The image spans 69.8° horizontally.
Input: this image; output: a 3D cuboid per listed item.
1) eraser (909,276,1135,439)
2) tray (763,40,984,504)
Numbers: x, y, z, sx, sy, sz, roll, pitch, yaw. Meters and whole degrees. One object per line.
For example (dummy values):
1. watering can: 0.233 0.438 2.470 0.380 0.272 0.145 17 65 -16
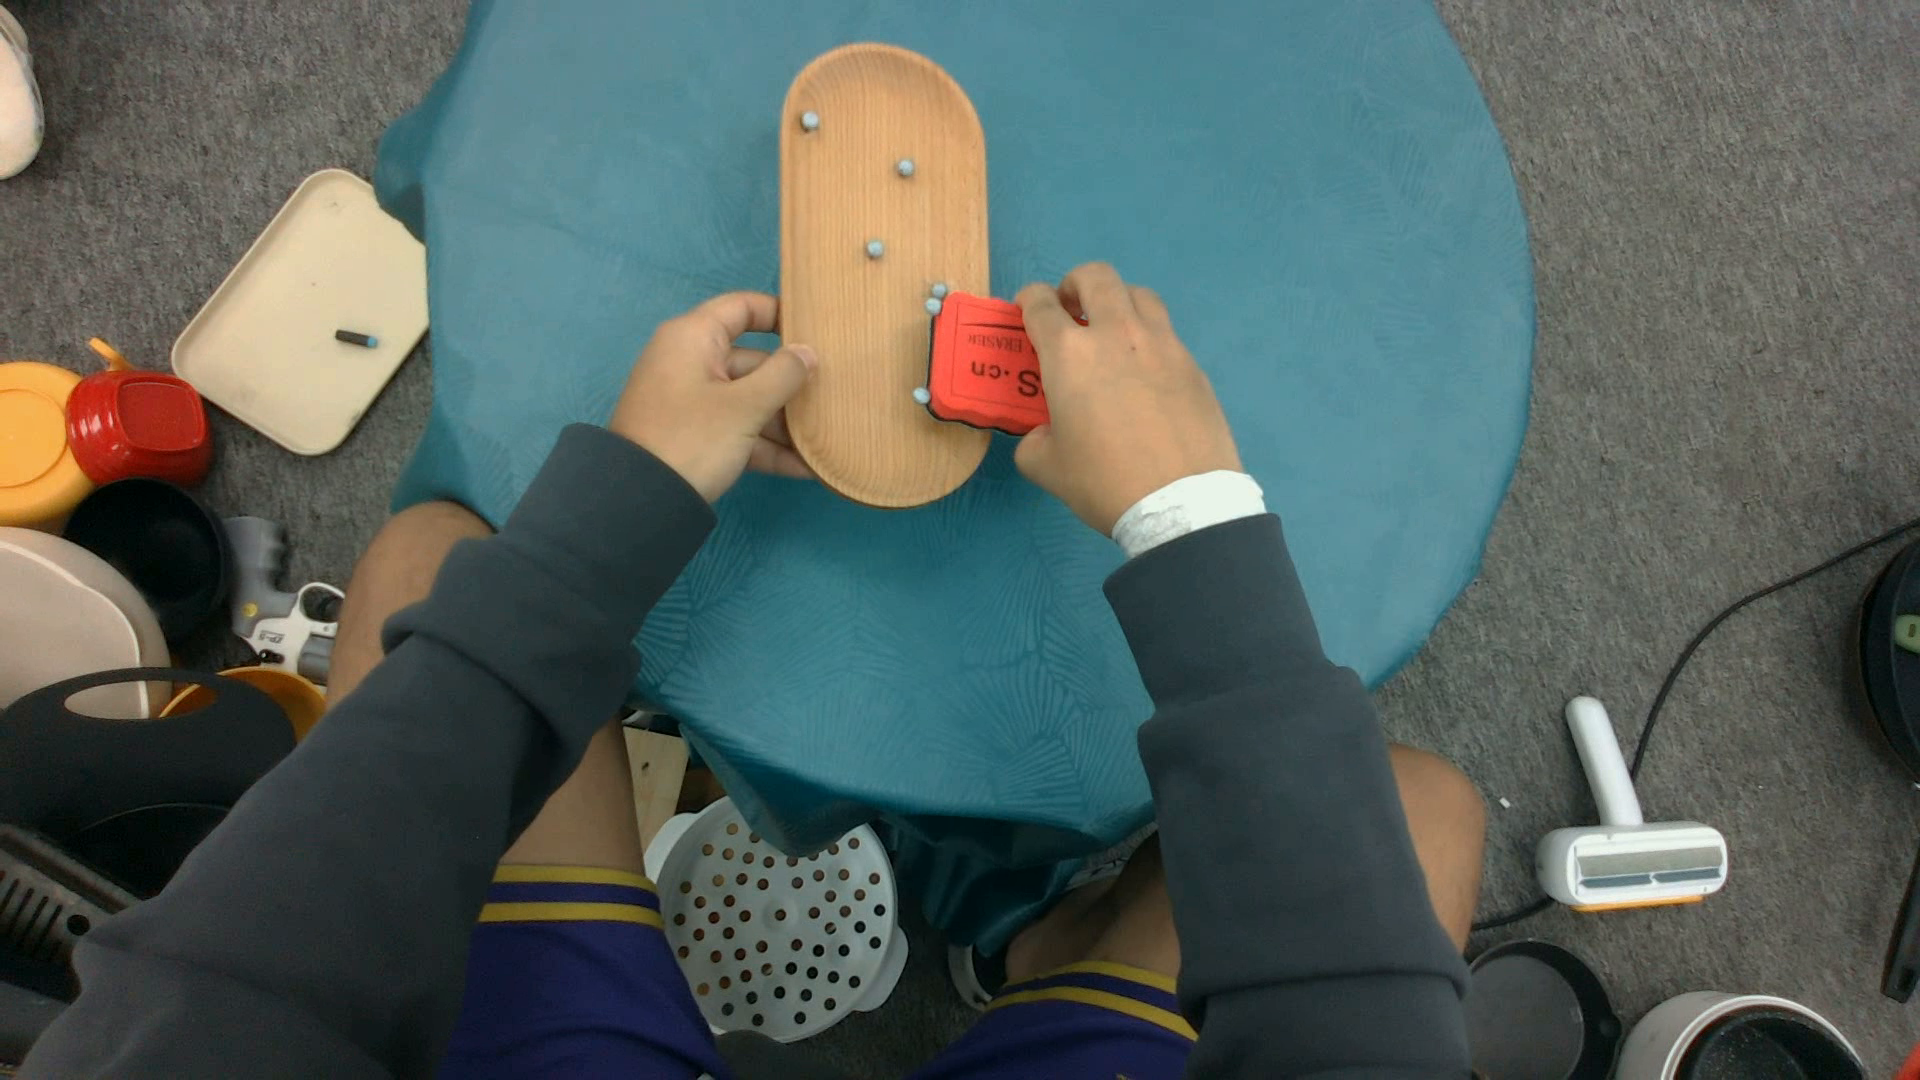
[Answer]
1. eraser: 0.030 -0.085 0.648 0.108 0.023 0.059 9 68 -20
2. tray: -0.042 -0.130 0.654 0.102 0.020 0.231 0 79 -16
